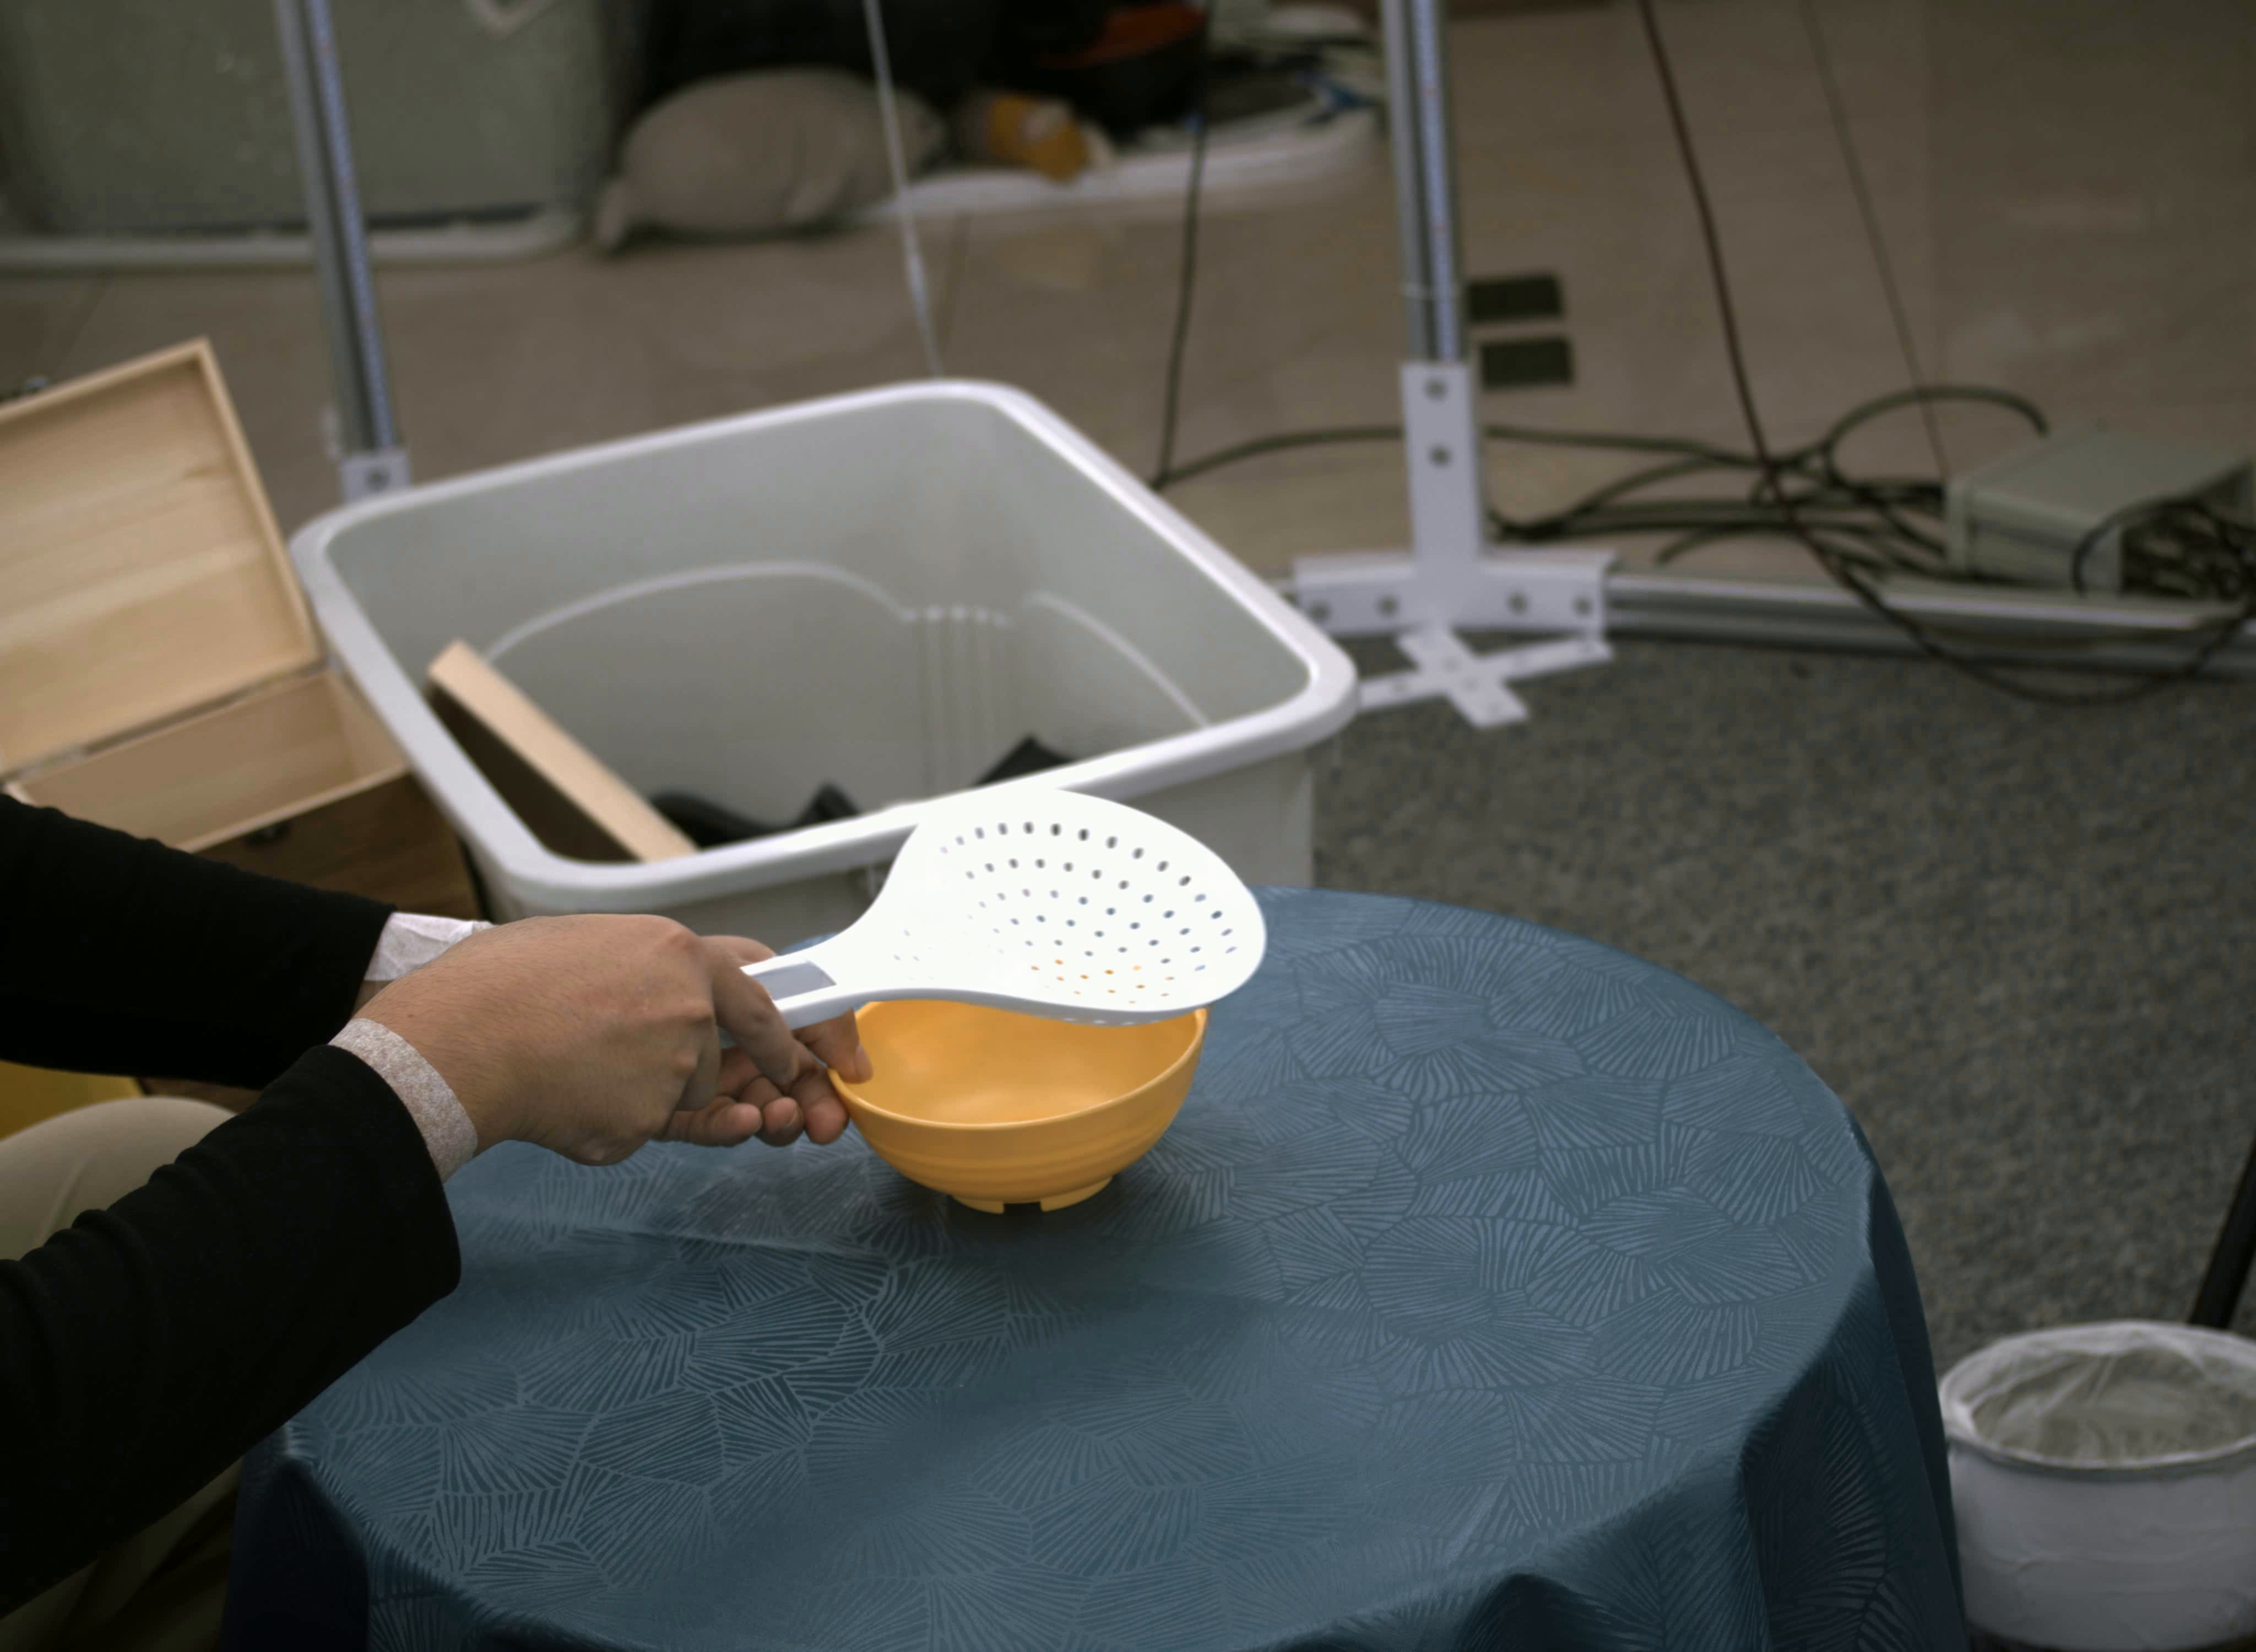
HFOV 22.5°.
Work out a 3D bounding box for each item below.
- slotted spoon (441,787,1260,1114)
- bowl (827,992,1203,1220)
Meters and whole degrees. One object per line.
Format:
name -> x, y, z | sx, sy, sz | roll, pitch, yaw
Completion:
slotted spoon -> -0.098, 0.053, 2.023 | 0.348, 0.046, 0.134 | -10, 42, -44
bowl -> -0.040, 0.109, 2.155 | 0.145, 0.061, 0.143 | -5, 23, 2
